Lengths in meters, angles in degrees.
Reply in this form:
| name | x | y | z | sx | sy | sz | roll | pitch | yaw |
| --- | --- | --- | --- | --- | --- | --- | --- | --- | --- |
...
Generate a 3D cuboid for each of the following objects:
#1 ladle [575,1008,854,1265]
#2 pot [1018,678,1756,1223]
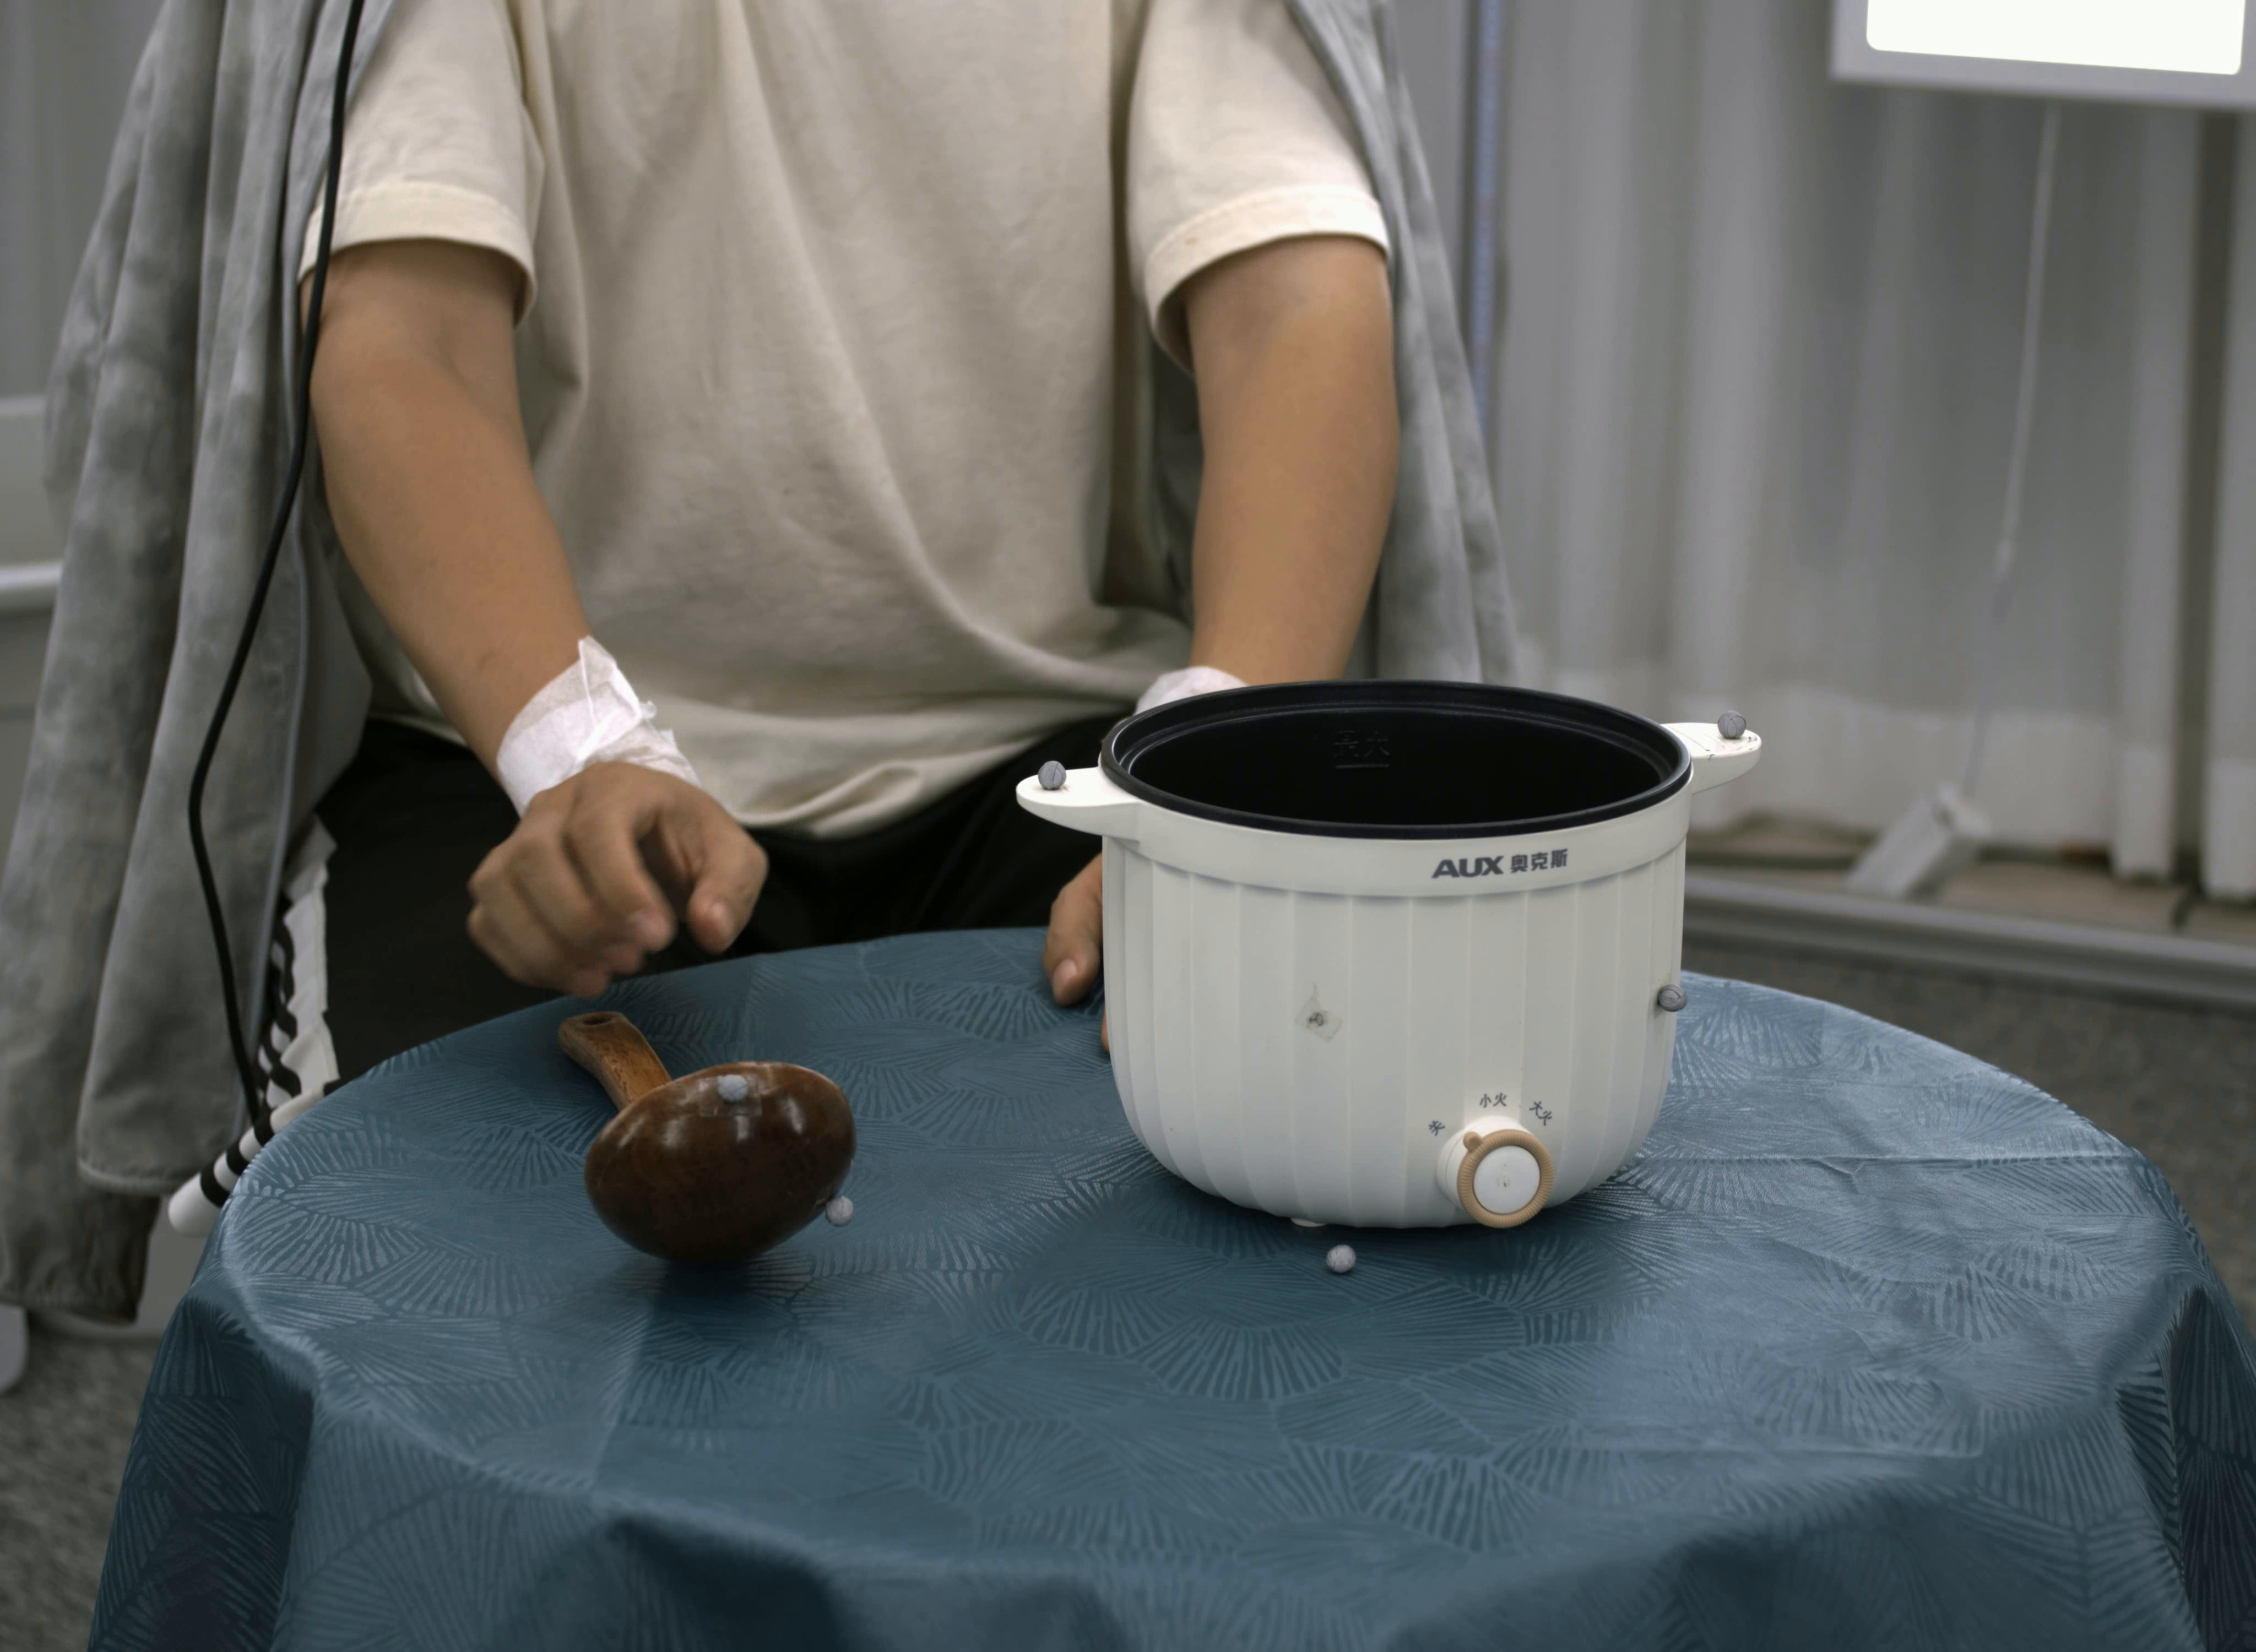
| name | x | y | z | sx | sy | sz | roll | pitch | yaw |
| --- | --- | --- | --- | --- | --- | --- | --- | --- | --- |
| ladle | -0.143 | 0.071 | 1.626 | 0.082 | 0.077 | 0.271 | -6 | 17 | -12 |
| pot | 0.085 | 0.041 | 1.625 | 0.241 | 0.144 | 0.188 | -6 | 14 | -18 |
